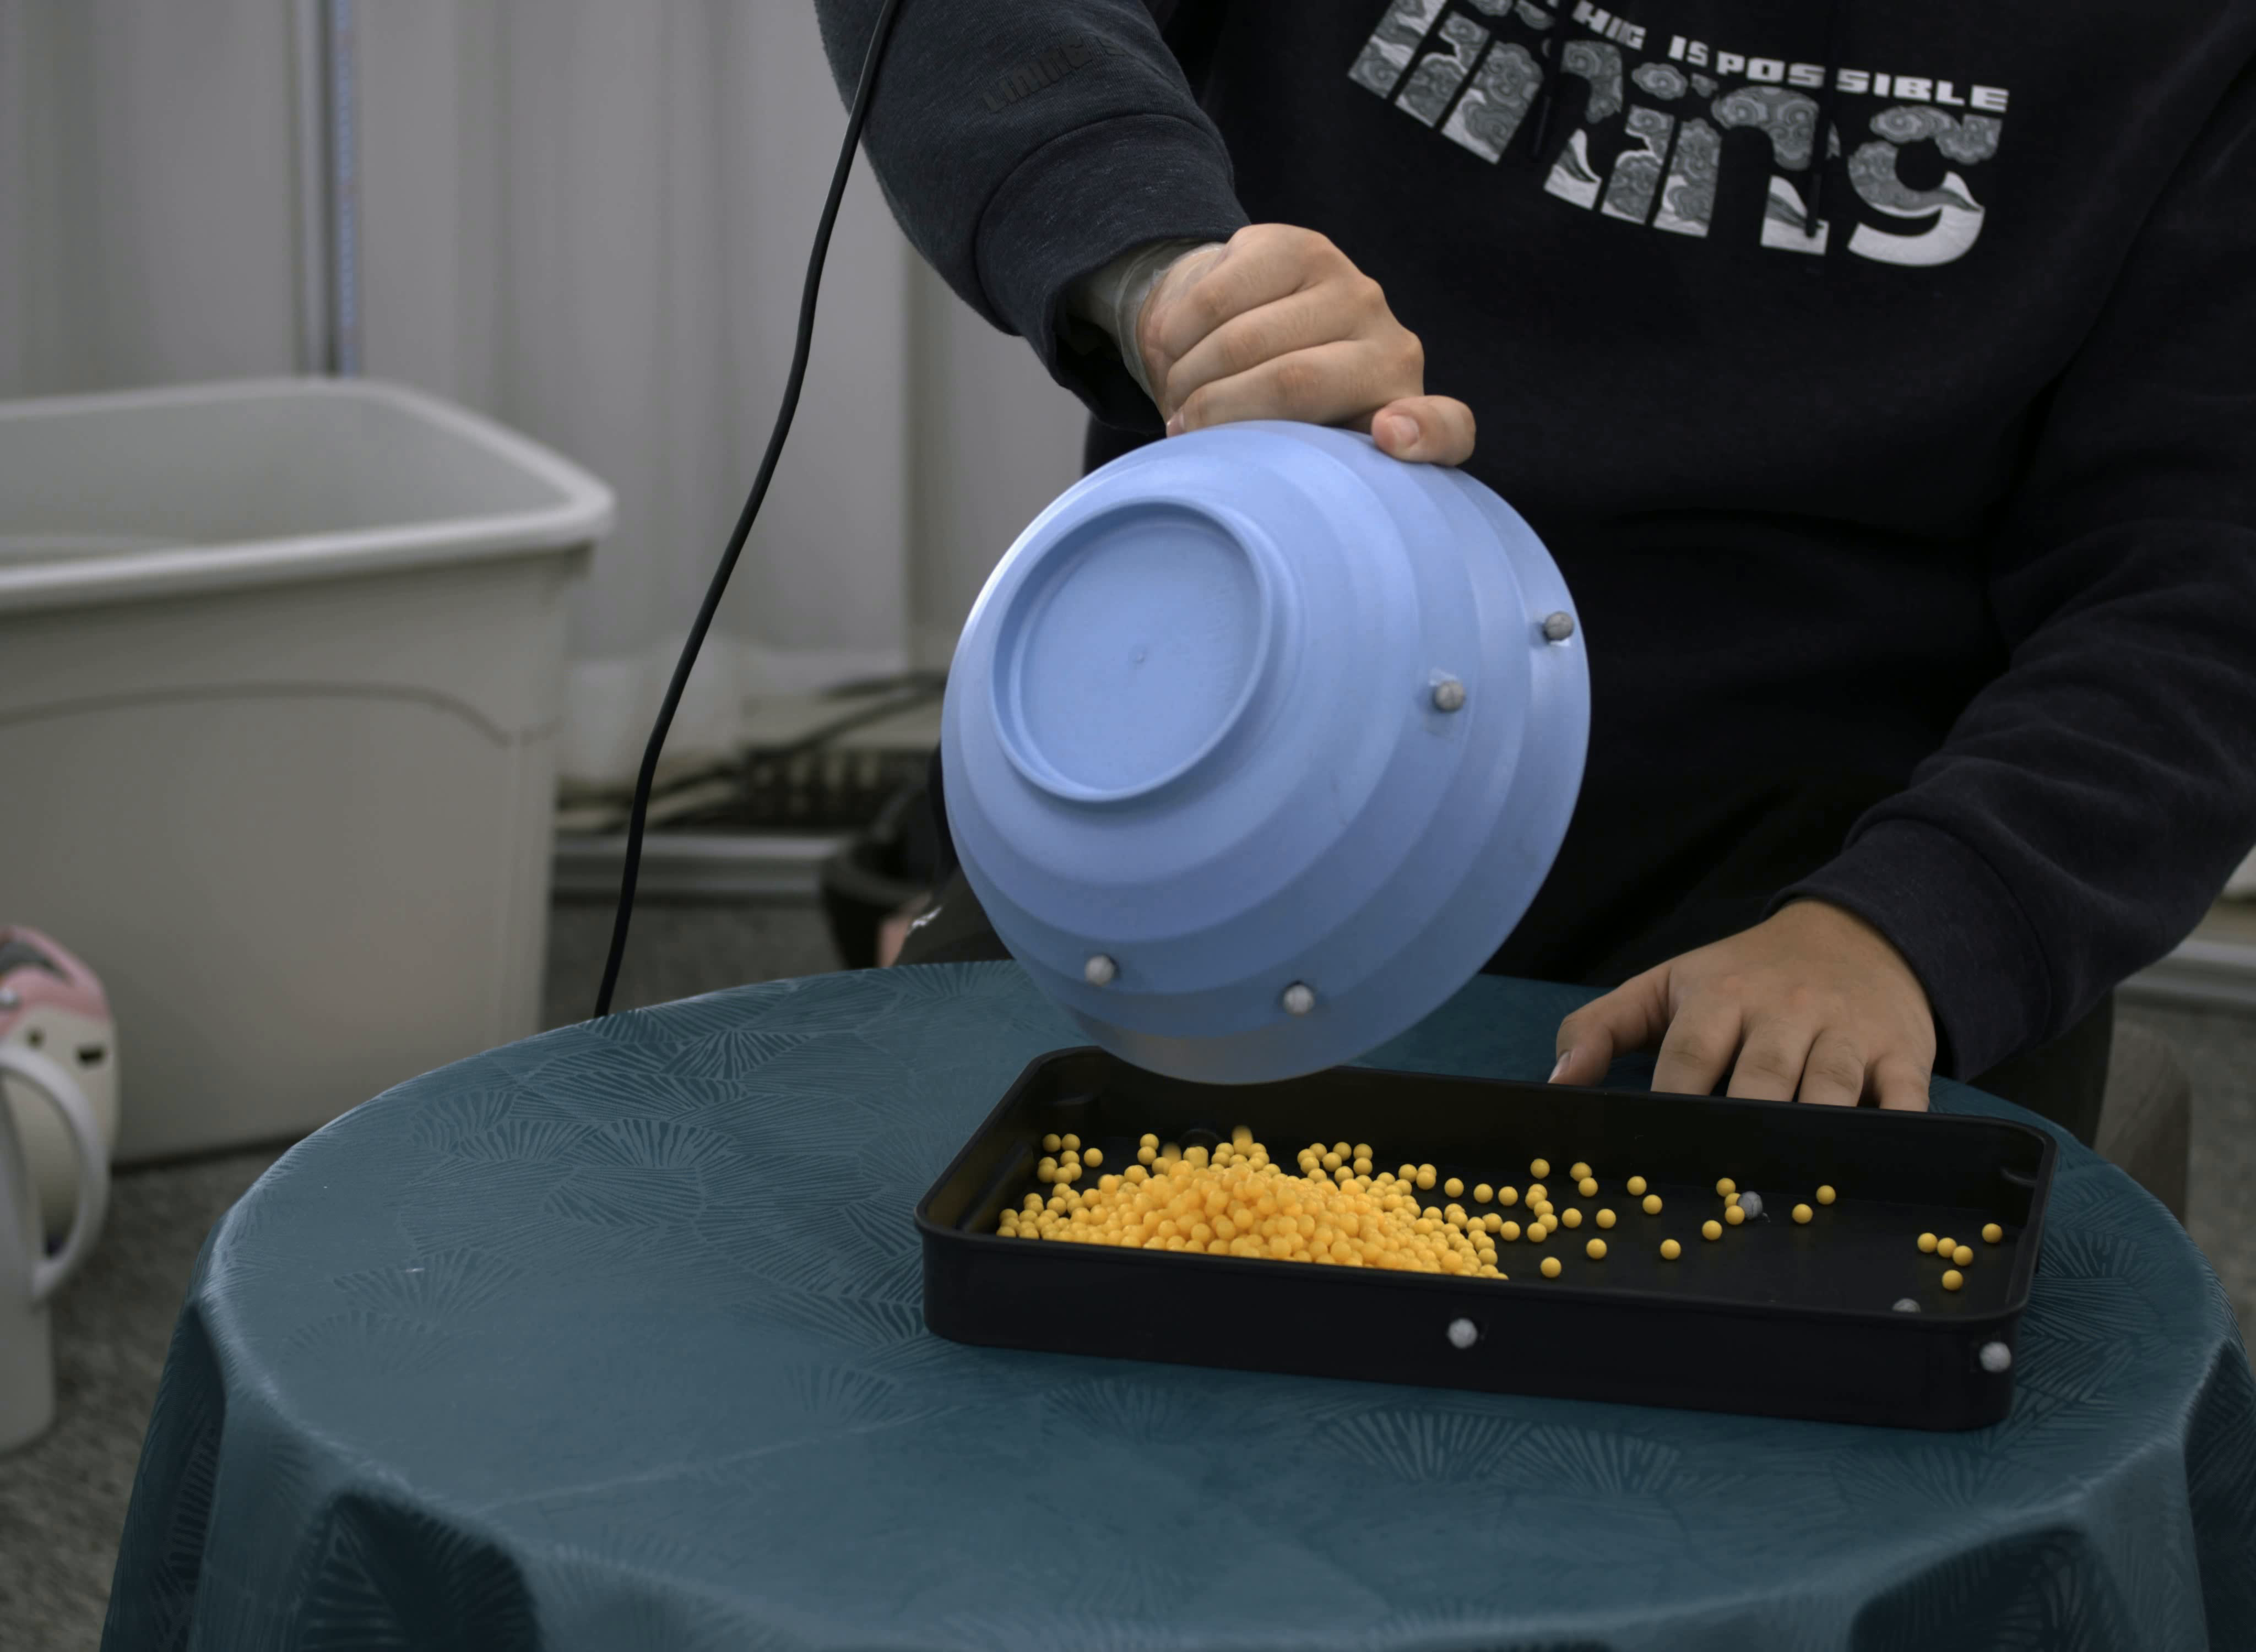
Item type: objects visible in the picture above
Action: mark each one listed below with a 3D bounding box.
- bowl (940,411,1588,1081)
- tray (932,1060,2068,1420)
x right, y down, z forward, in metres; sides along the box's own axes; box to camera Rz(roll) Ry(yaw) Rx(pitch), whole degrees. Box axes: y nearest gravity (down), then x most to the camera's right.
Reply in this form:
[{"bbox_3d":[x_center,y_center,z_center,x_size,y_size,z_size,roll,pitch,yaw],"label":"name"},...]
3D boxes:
[{"bbox_3d":[0.021,-0.036,1.479,0.194,0.196,0.096,12,-11,35],"label":"bowl"},{"bbox_3d":[0.113,0.119,1.547,0.316,0.037,0.184,2,15,10],"label":"tray"}]
